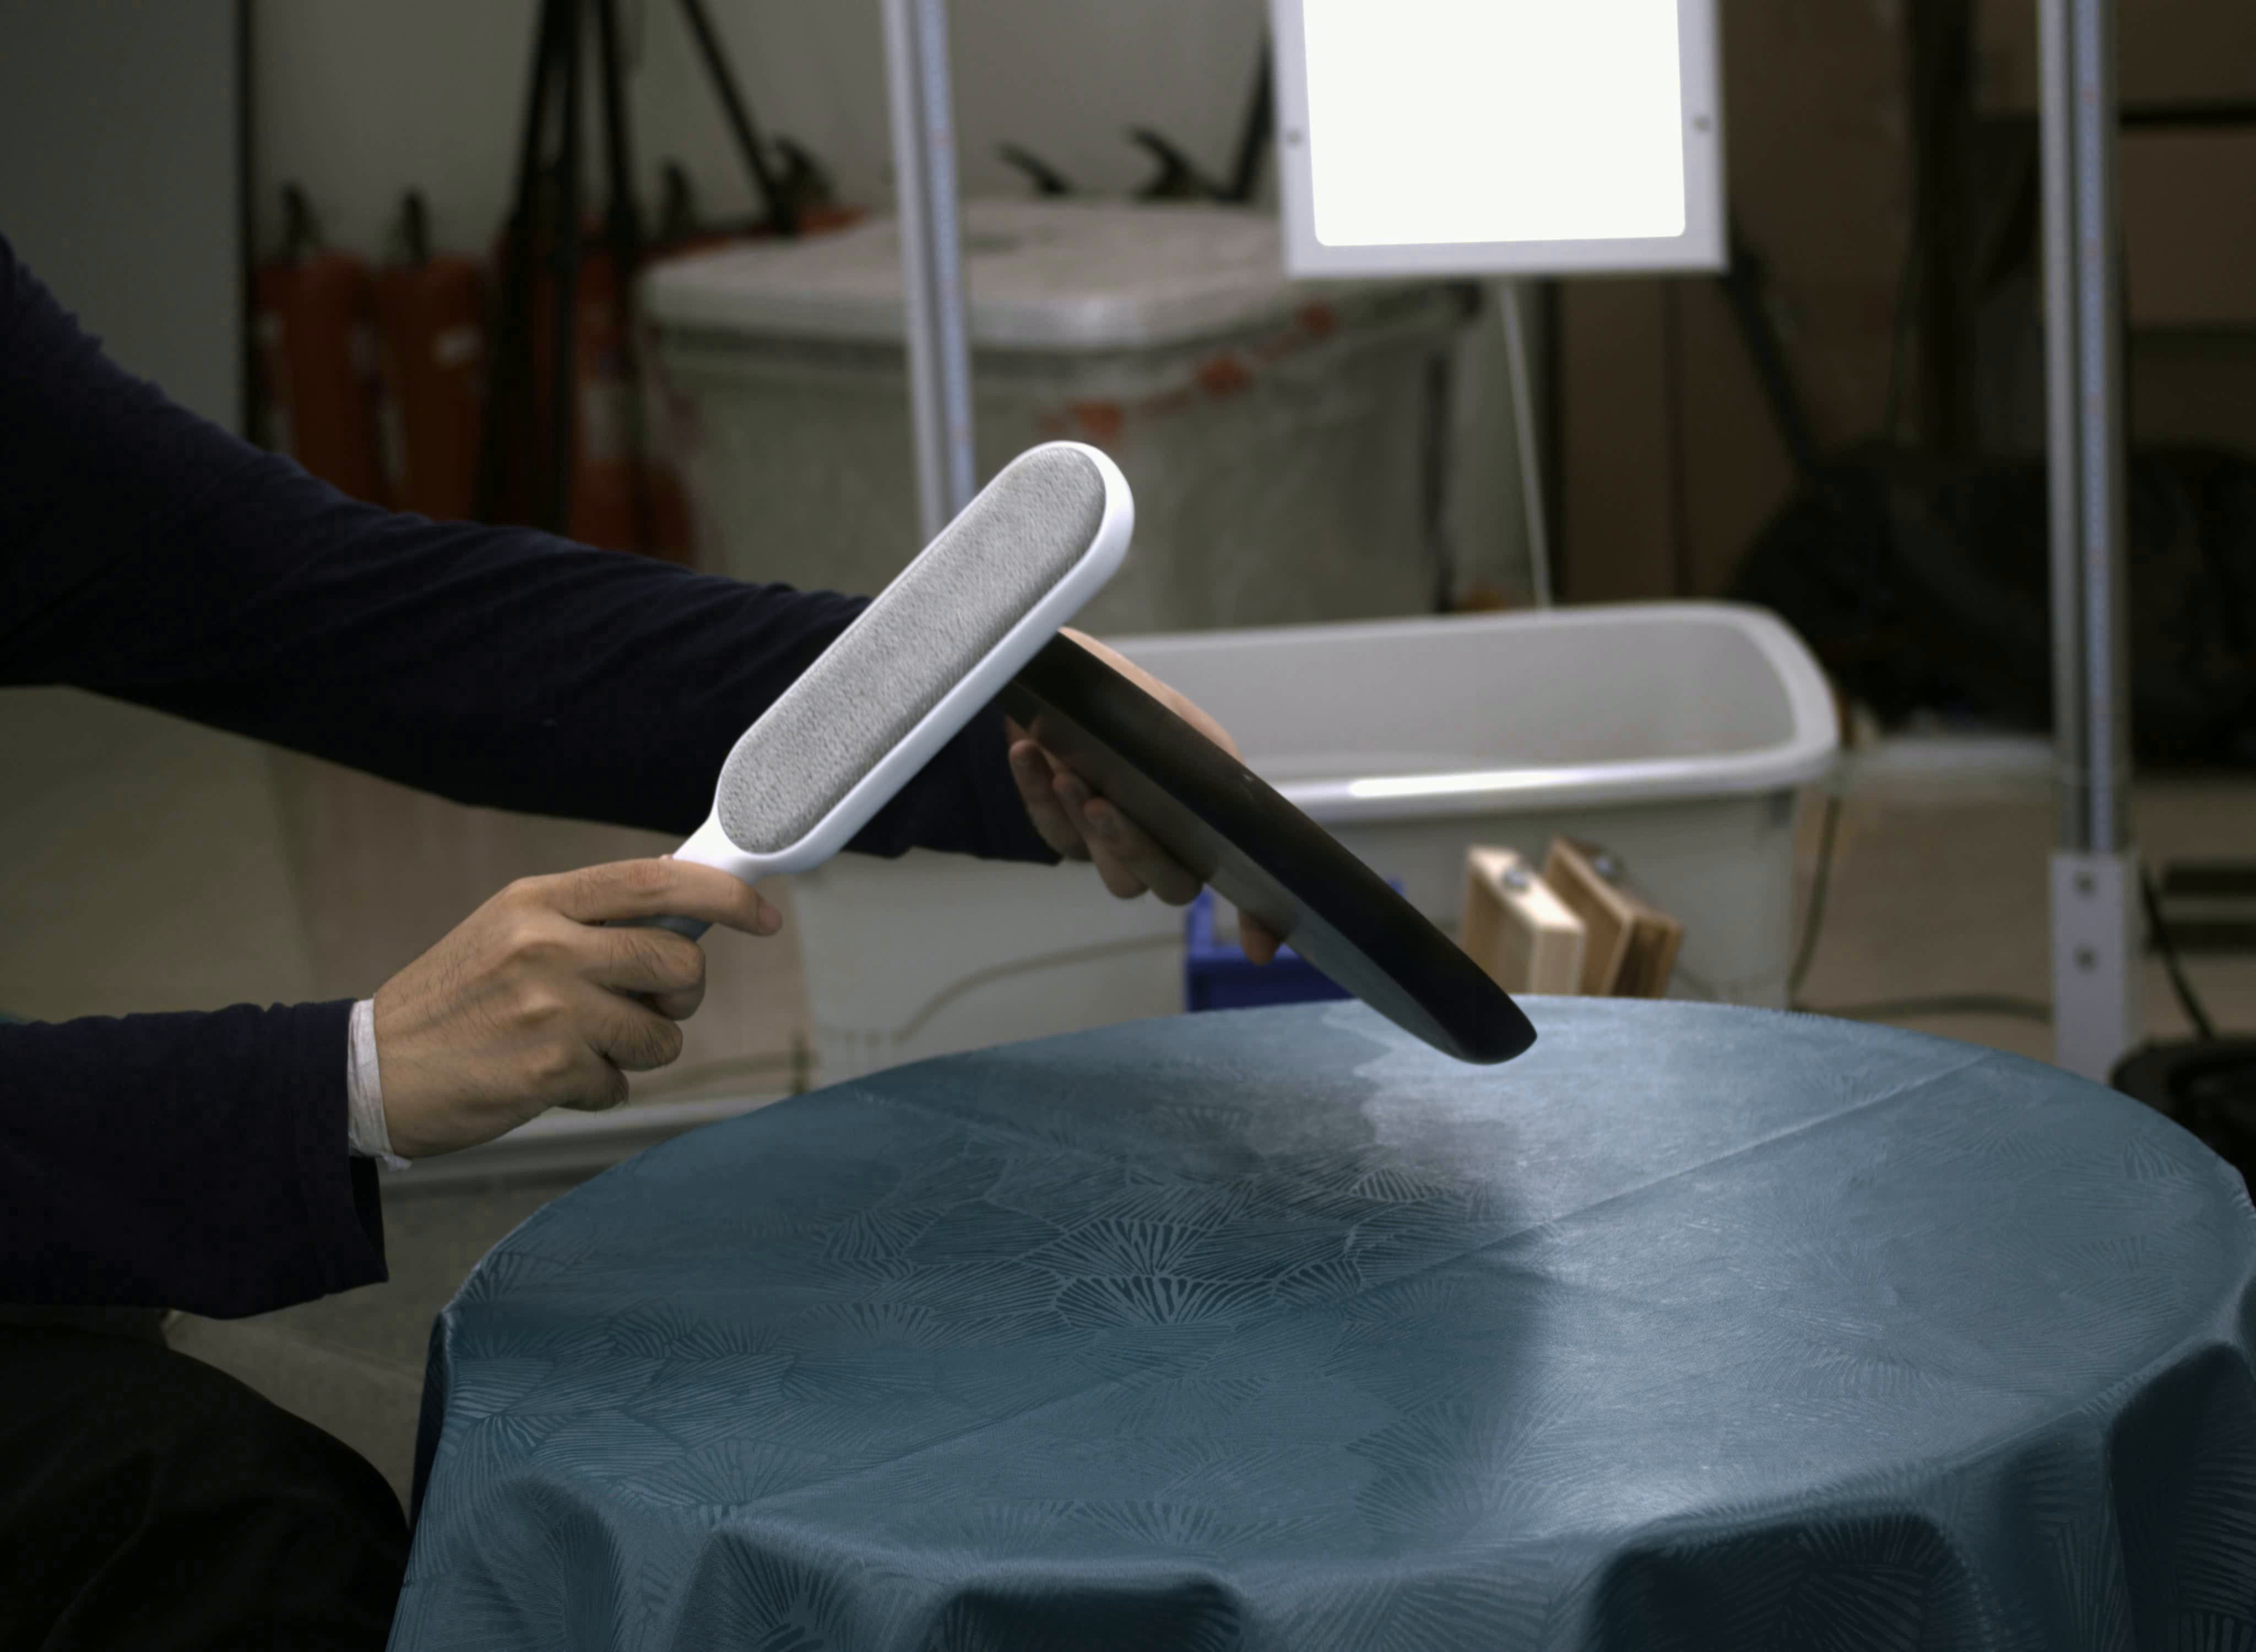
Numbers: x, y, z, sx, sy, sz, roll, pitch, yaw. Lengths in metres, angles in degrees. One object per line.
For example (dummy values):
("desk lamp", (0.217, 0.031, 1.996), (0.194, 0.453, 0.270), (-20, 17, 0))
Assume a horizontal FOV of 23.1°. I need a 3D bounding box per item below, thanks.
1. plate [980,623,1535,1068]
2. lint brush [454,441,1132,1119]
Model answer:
("plate", (0.037, 0.001, 1.896), (0.029, 0.252, 0.258), (-50, 22, -5))
("lint brush", (-0.113, -0.012, 1.807), (0.020, 0.312, 0.060), (26, 24, -52))
